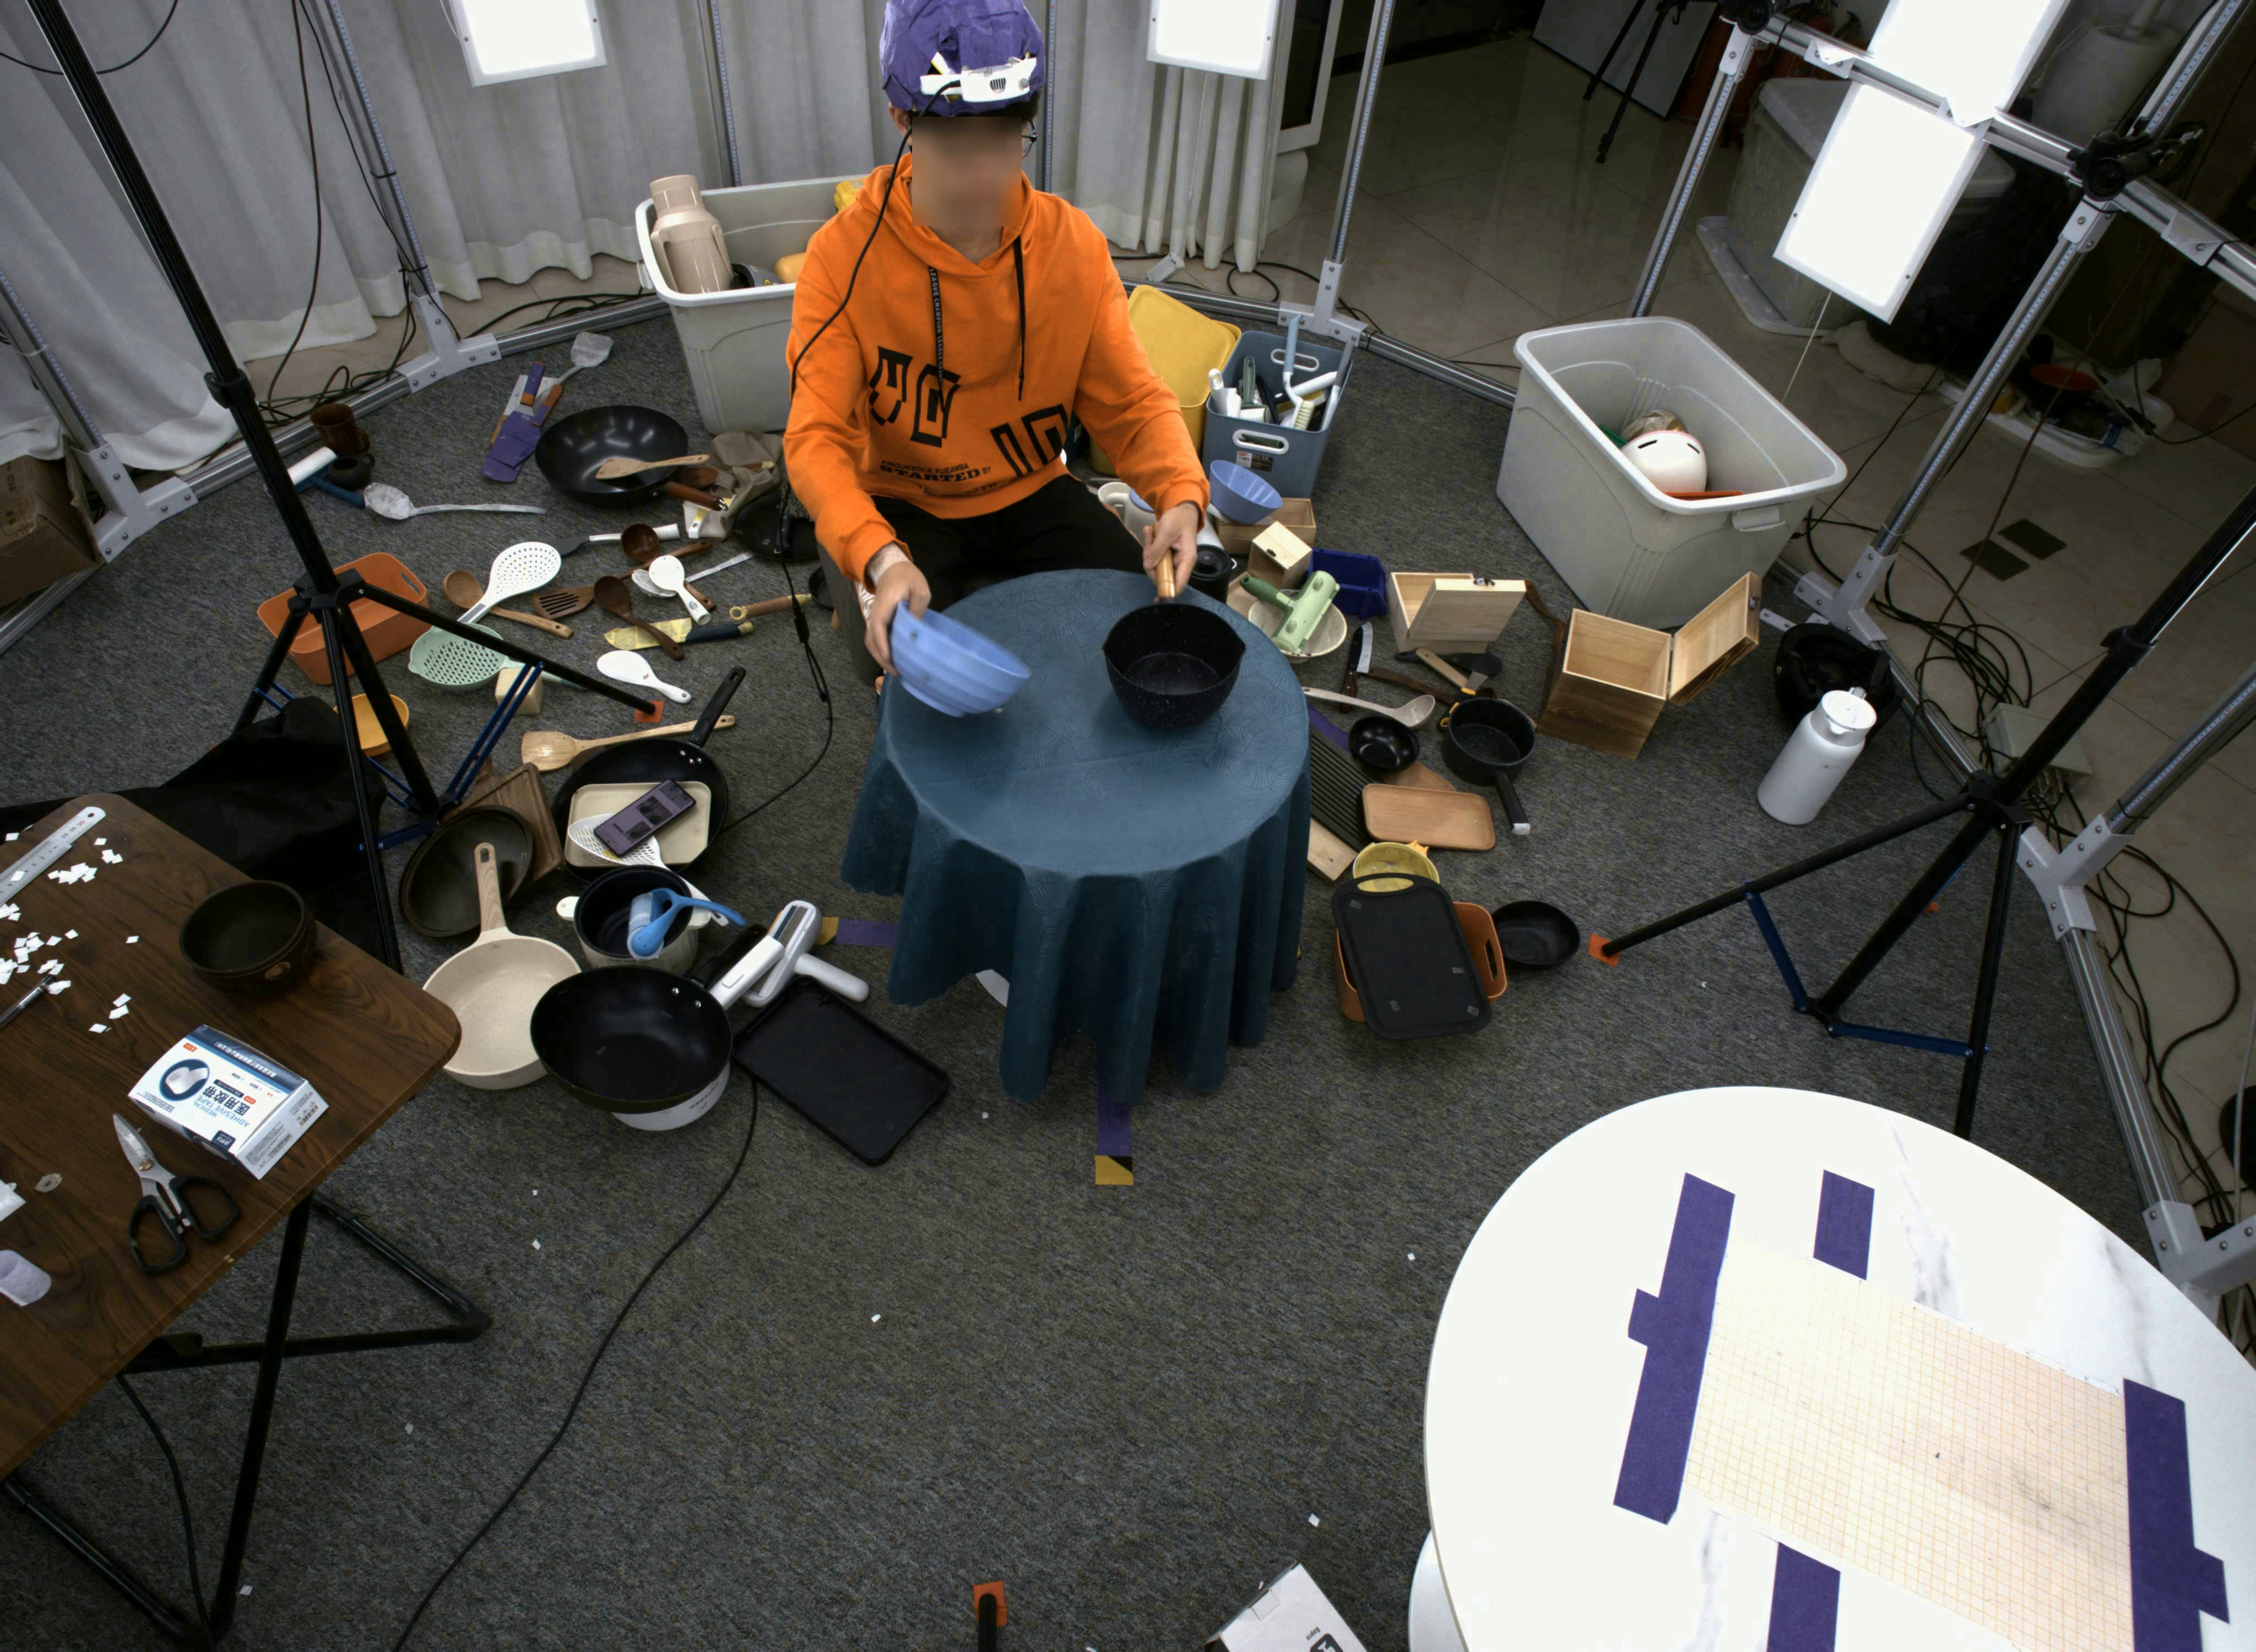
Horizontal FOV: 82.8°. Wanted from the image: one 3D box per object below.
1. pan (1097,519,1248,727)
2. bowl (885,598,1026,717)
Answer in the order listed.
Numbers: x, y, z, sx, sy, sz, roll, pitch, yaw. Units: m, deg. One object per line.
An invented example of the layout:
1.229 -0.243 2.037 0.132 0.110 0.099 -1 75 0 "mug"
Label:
0.056 -0.289 1.830 0.207 0.105 0.351 -3 51 -2 "pan"
-0.242 -0.208 1.695 0.199 0.194 0.095 36 97 24 "bowl"
